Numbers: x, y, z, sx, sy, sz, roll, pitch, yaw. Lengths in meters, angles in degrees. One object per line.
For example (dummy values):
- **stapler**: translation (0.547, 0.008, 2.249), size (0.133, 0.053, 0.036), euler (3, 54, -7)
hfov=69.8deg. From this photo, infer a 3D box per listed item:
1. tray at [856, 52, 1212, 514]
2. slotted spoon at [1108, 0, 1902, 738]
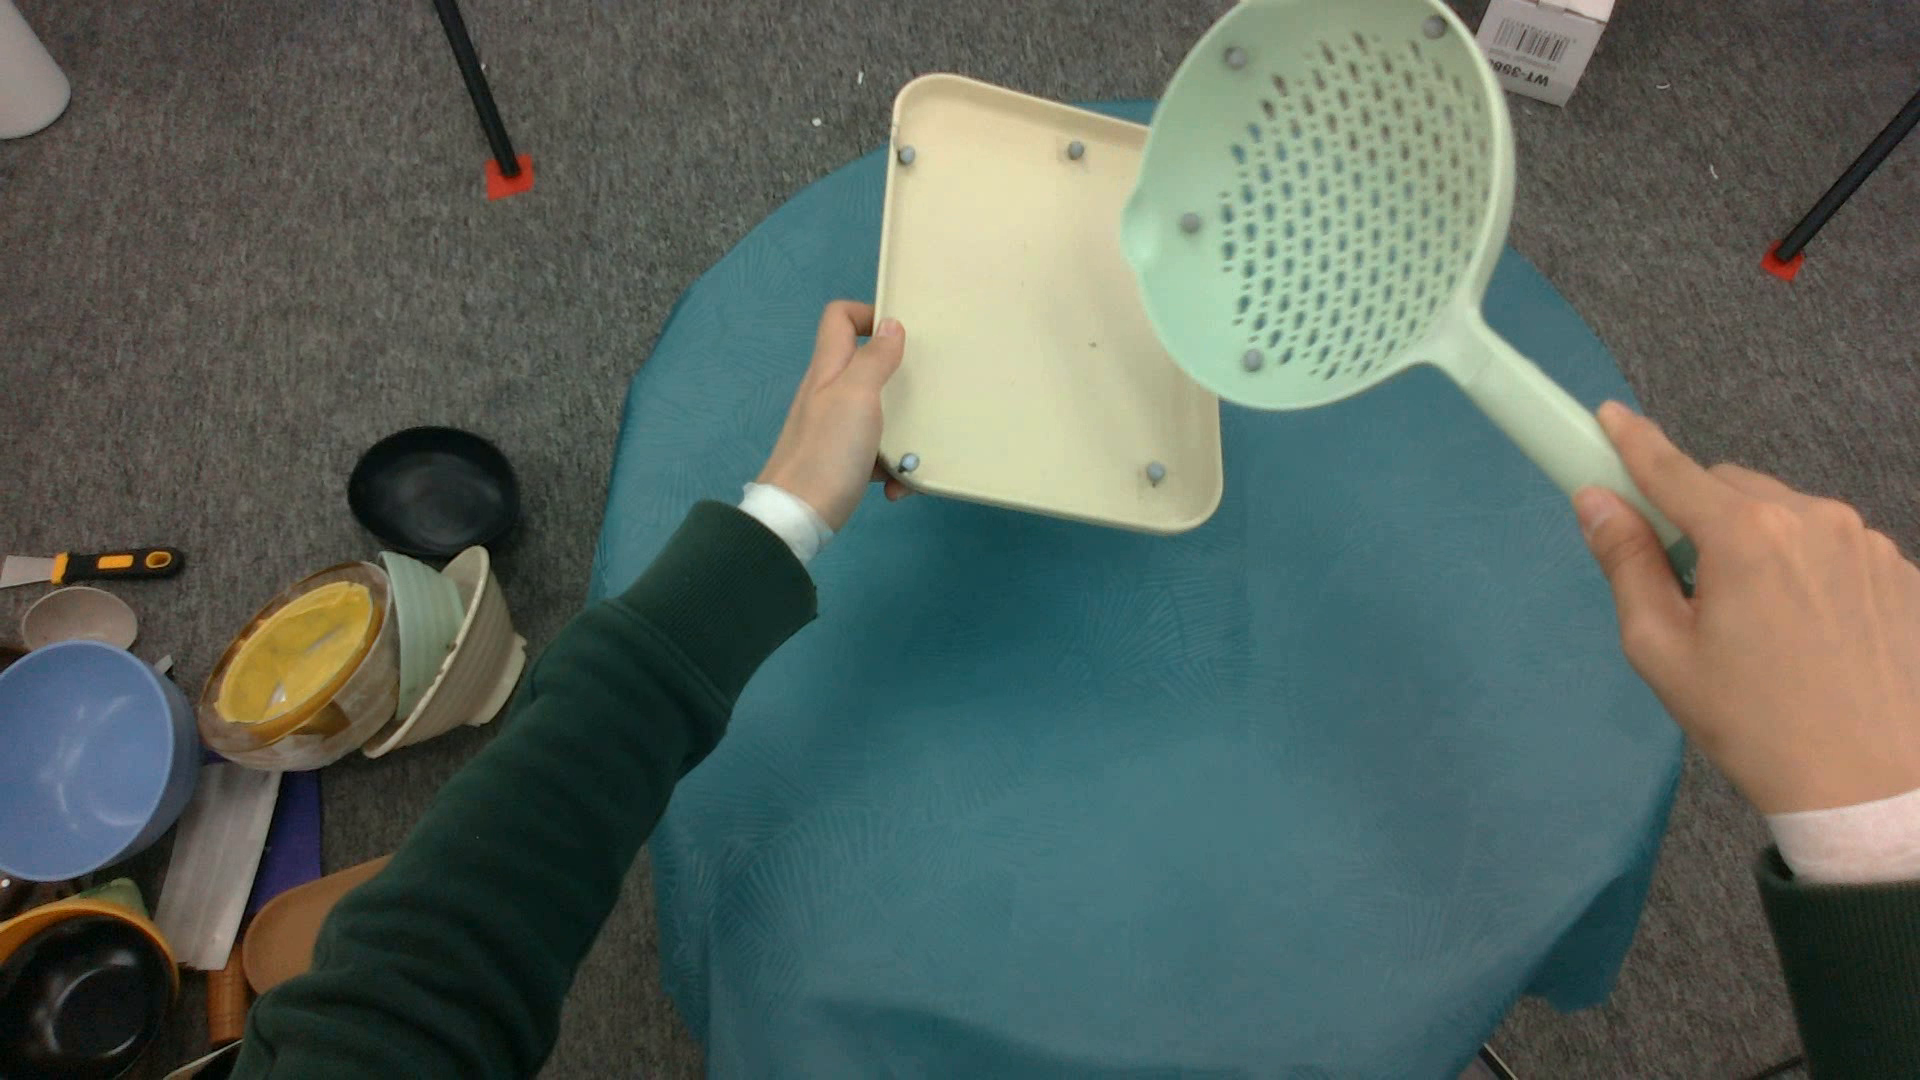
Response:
- **tray**: translation (0.037, -0.126, 0.662), size (0.171, 0.017, 0.240), euler (9, 63, -15)
- **slotted spoon**: translation (0.180, -0.074, 0.493), size (0.075, 0.168, 0.360), euler (6, 41, -34)
